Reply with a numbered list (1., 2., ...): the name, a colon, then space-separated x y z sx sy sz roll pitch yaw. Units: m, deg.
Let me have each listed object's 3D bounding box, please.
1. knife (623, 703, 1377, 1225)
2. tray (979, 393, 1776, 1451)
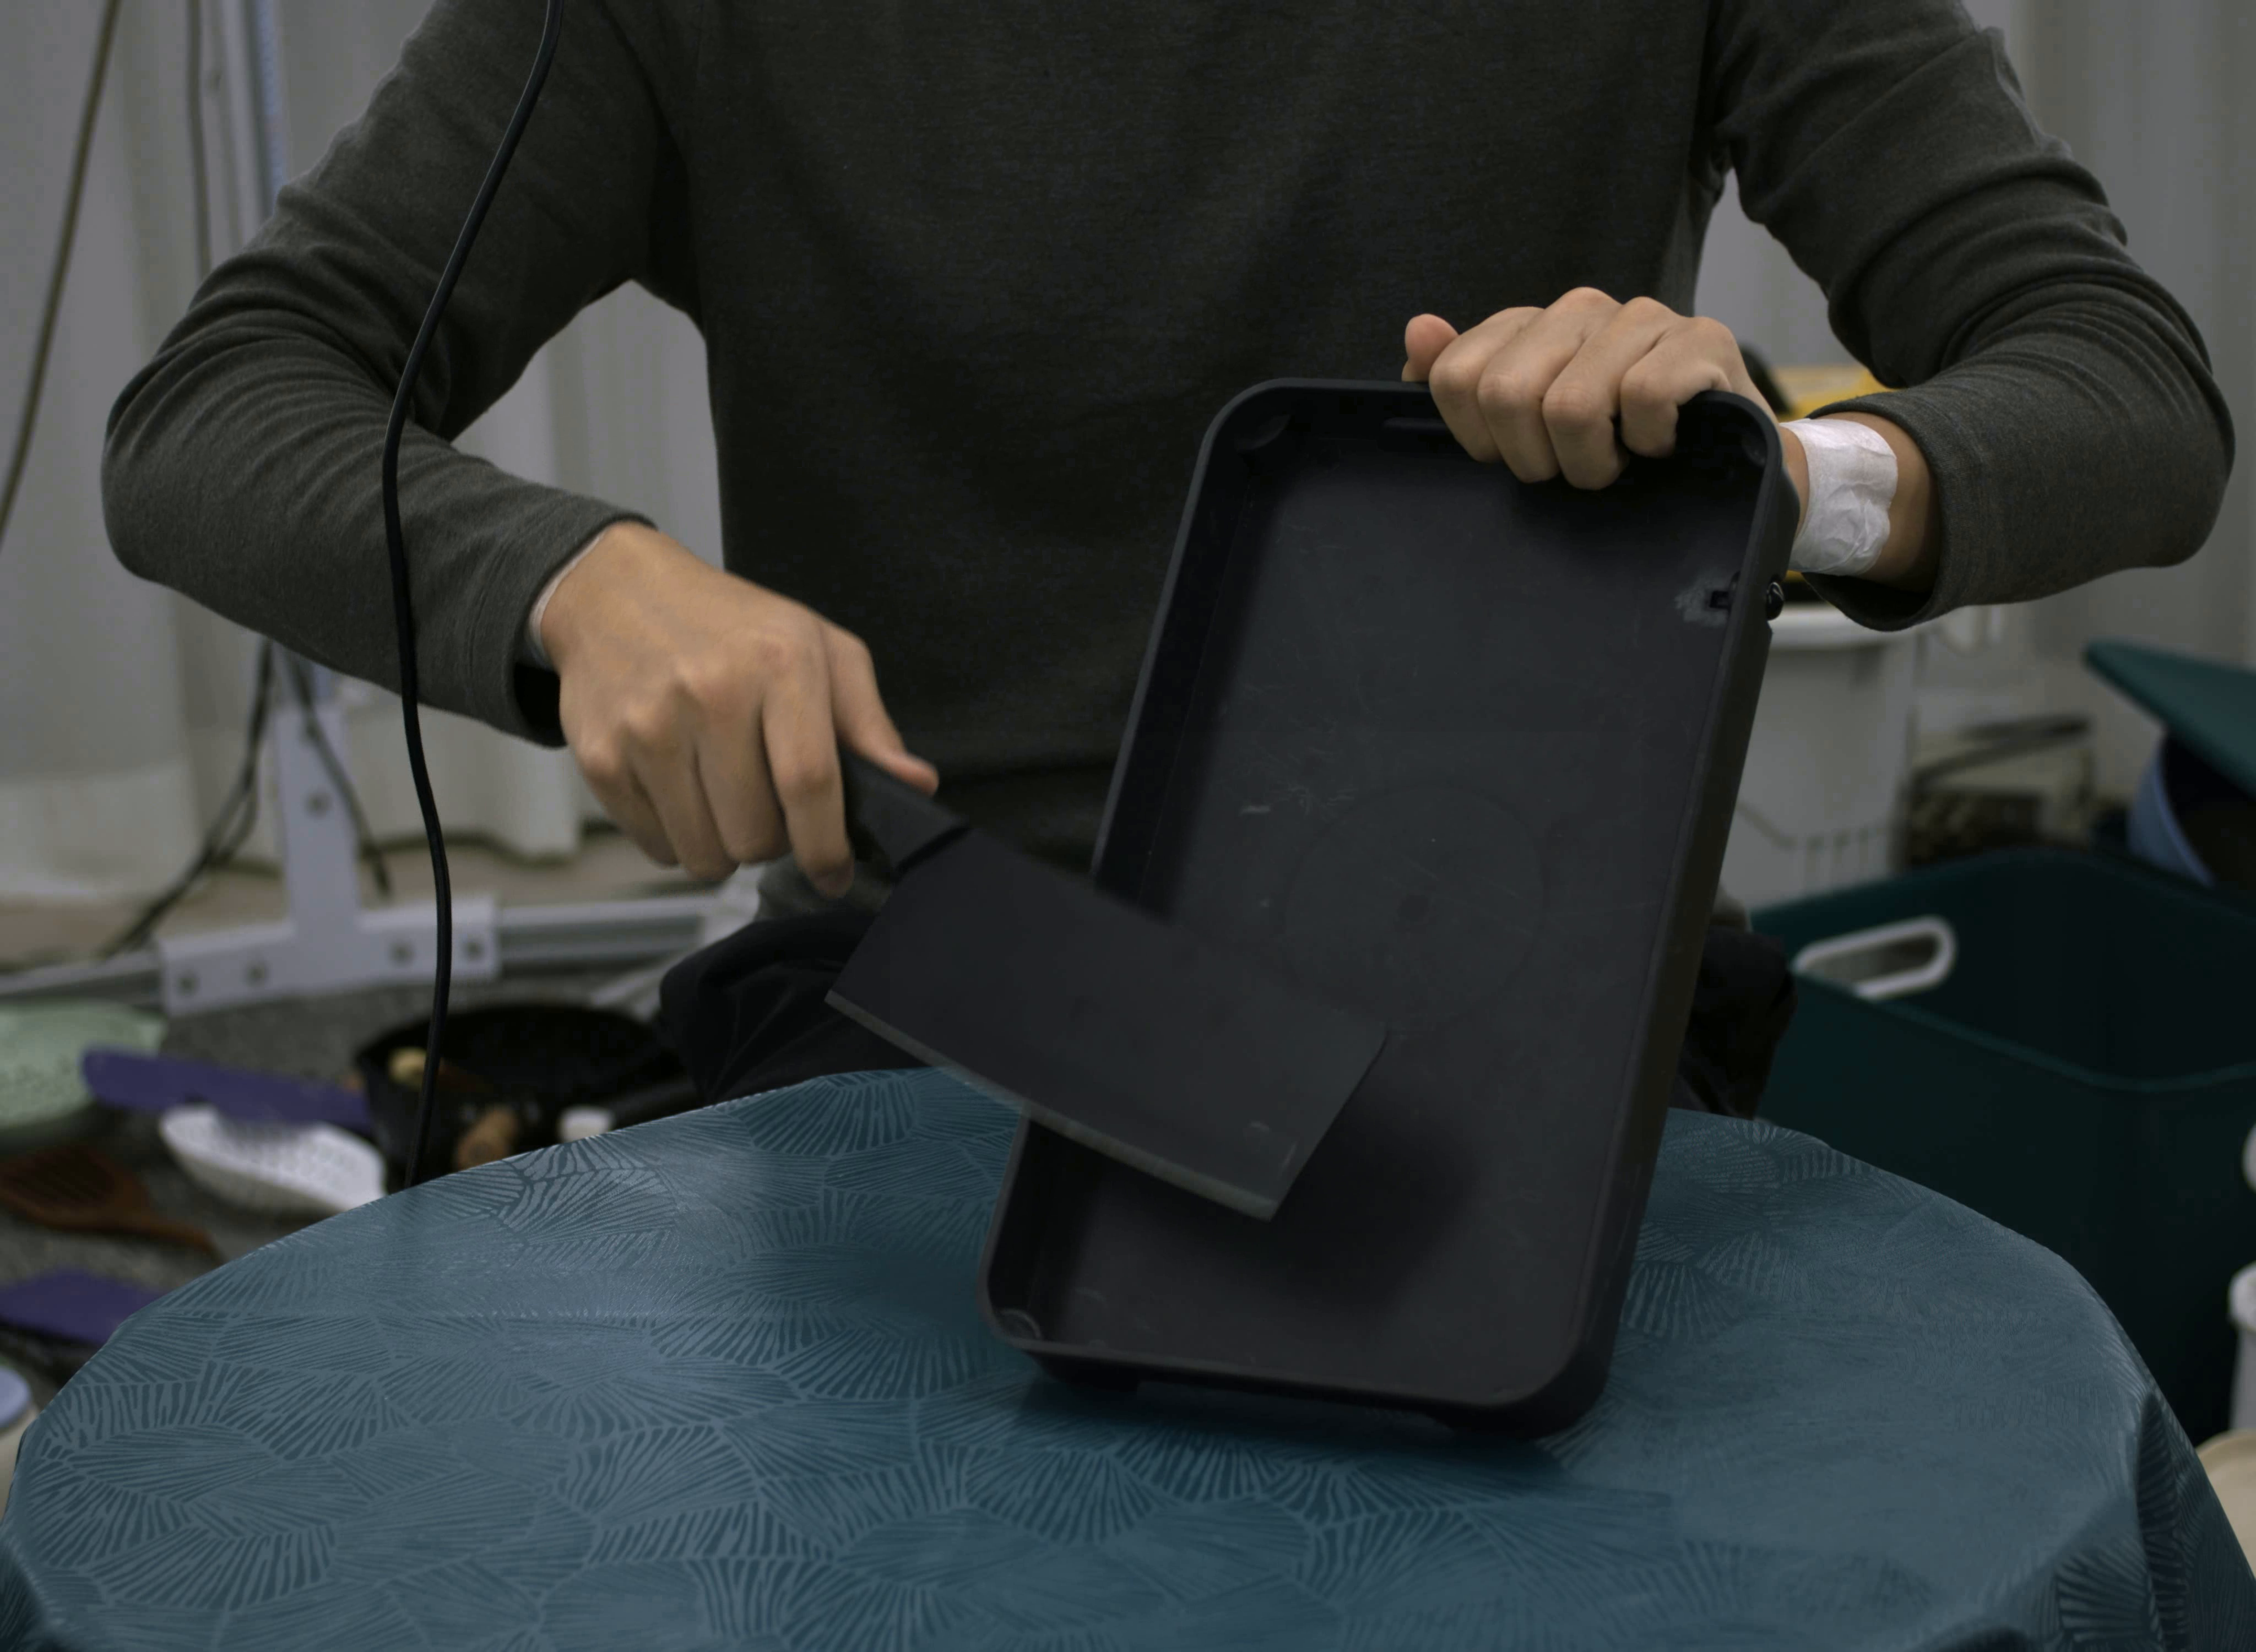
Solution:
1. knife: -0.049 0.034 1.603 0.305 0.081 0.020 32 -10 40
2. tray: 0.075 0.021 1.570 0.184 0.322 0.036 2 -27 24
